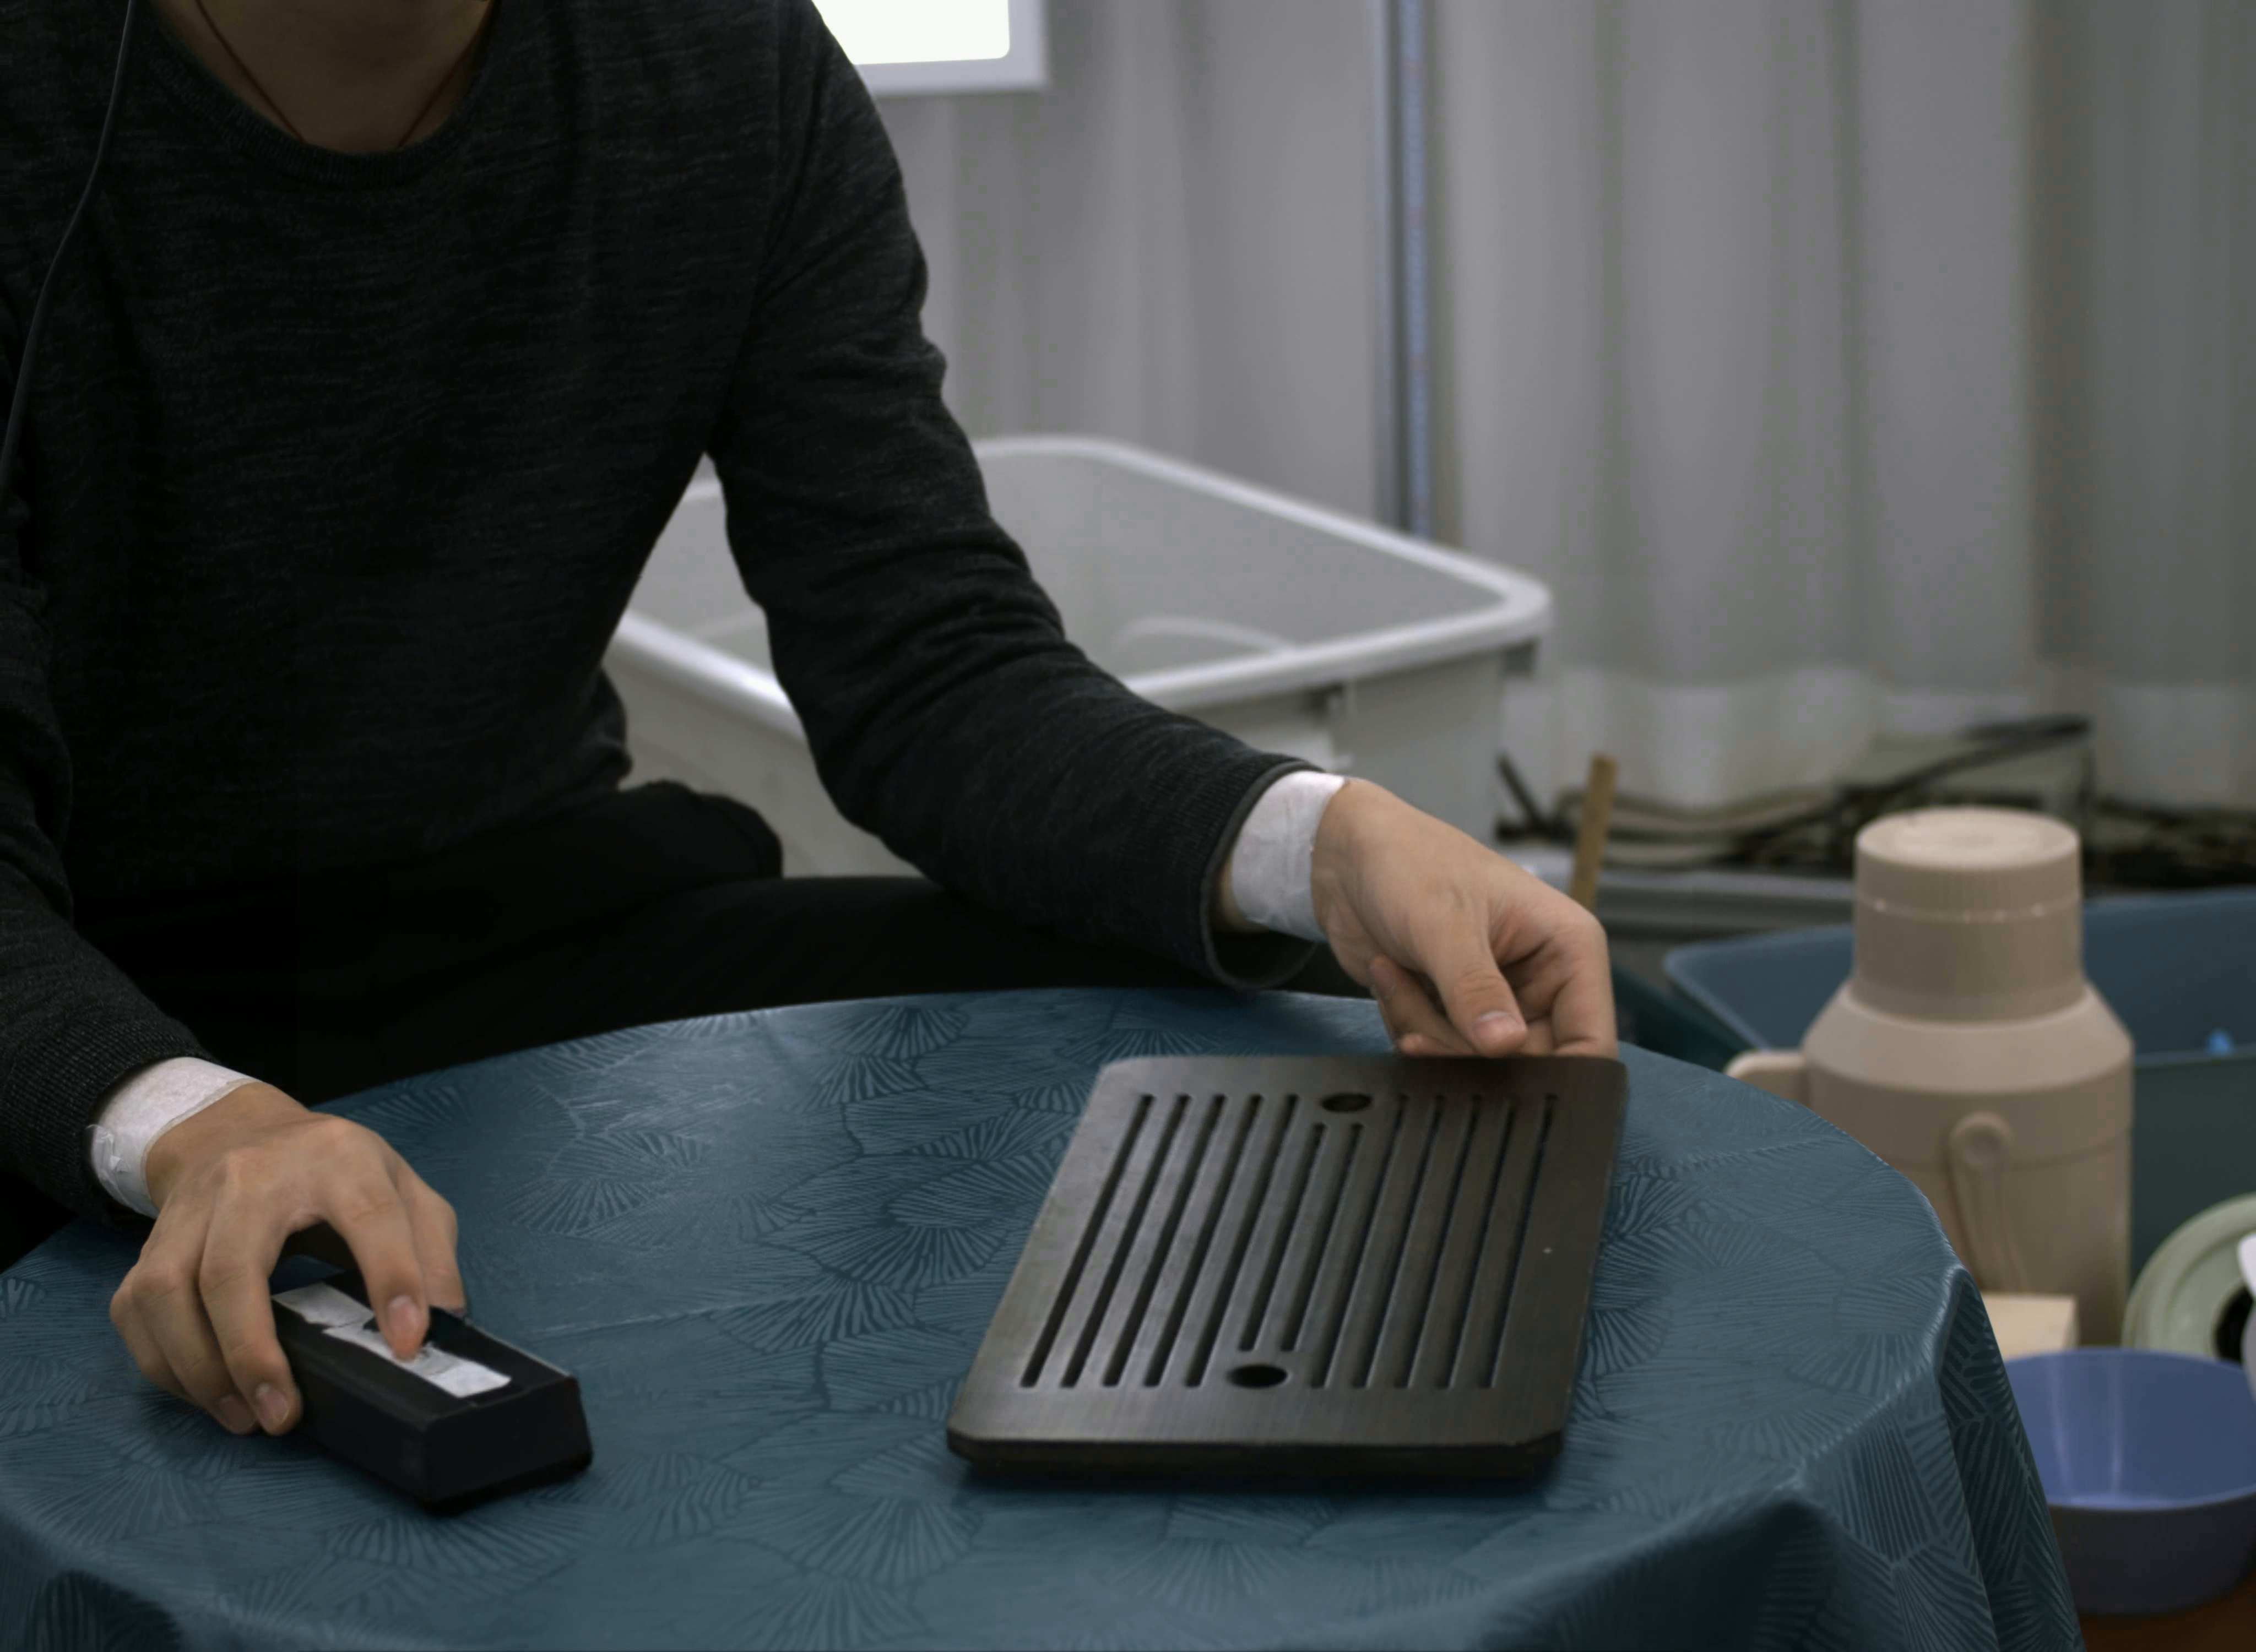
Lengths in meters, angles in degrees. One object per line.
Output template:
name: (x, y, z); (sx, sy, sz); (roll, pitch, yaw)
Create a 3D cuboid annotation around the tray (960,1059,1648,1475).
tray: (0.060, 0.127, 1.605); (0.170, 0.018, 0.308); (-1, 17, 10)

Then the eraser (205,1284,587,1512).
eraser: (-0.205, 0.159, 1.532); (0.053, 0.030, 0.126); (-11, 16, -36)
